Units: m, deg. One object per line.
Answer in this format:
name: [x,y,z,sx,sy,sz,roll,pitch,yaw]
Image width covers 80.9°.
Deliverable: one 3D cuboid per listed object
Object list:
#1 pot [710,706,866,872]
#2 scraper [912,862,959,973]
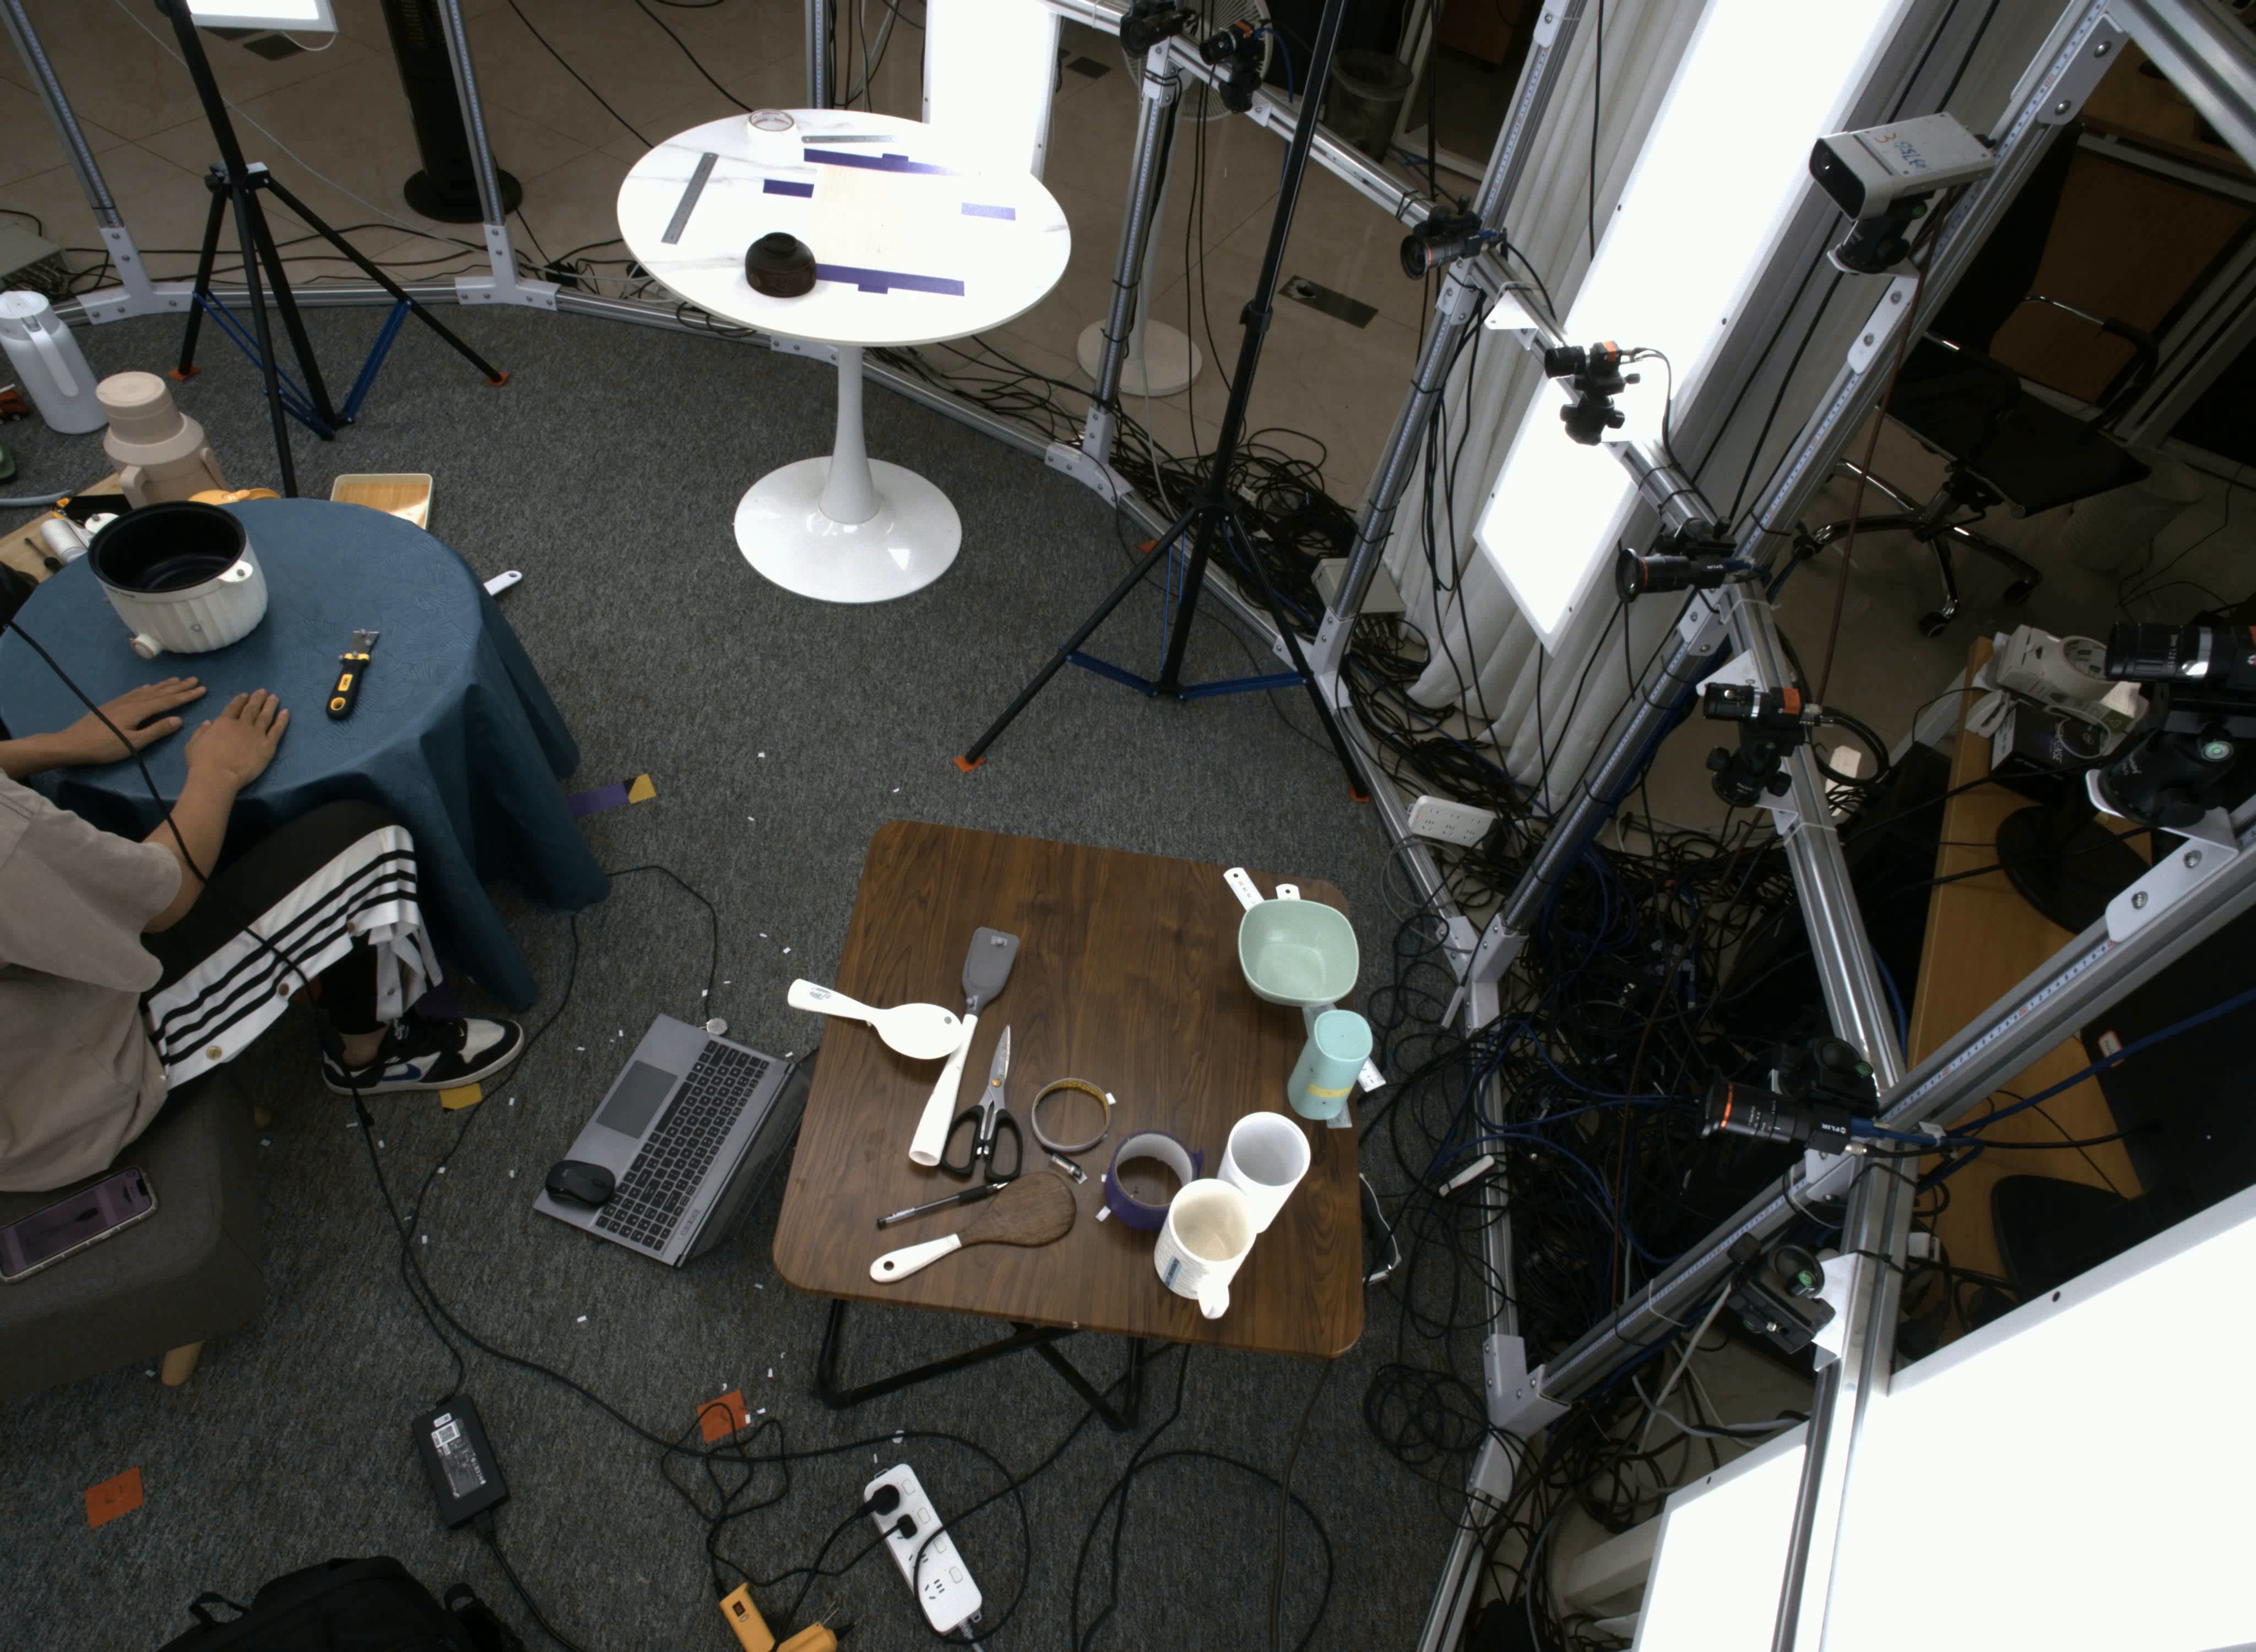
pot: [-0.440,-0.038,1.671,0.236,0.146,0.190,30,49,12]
scraper: [-0.250,0.115,1.680,0.039,0.015,0.168,13,50,-7]
